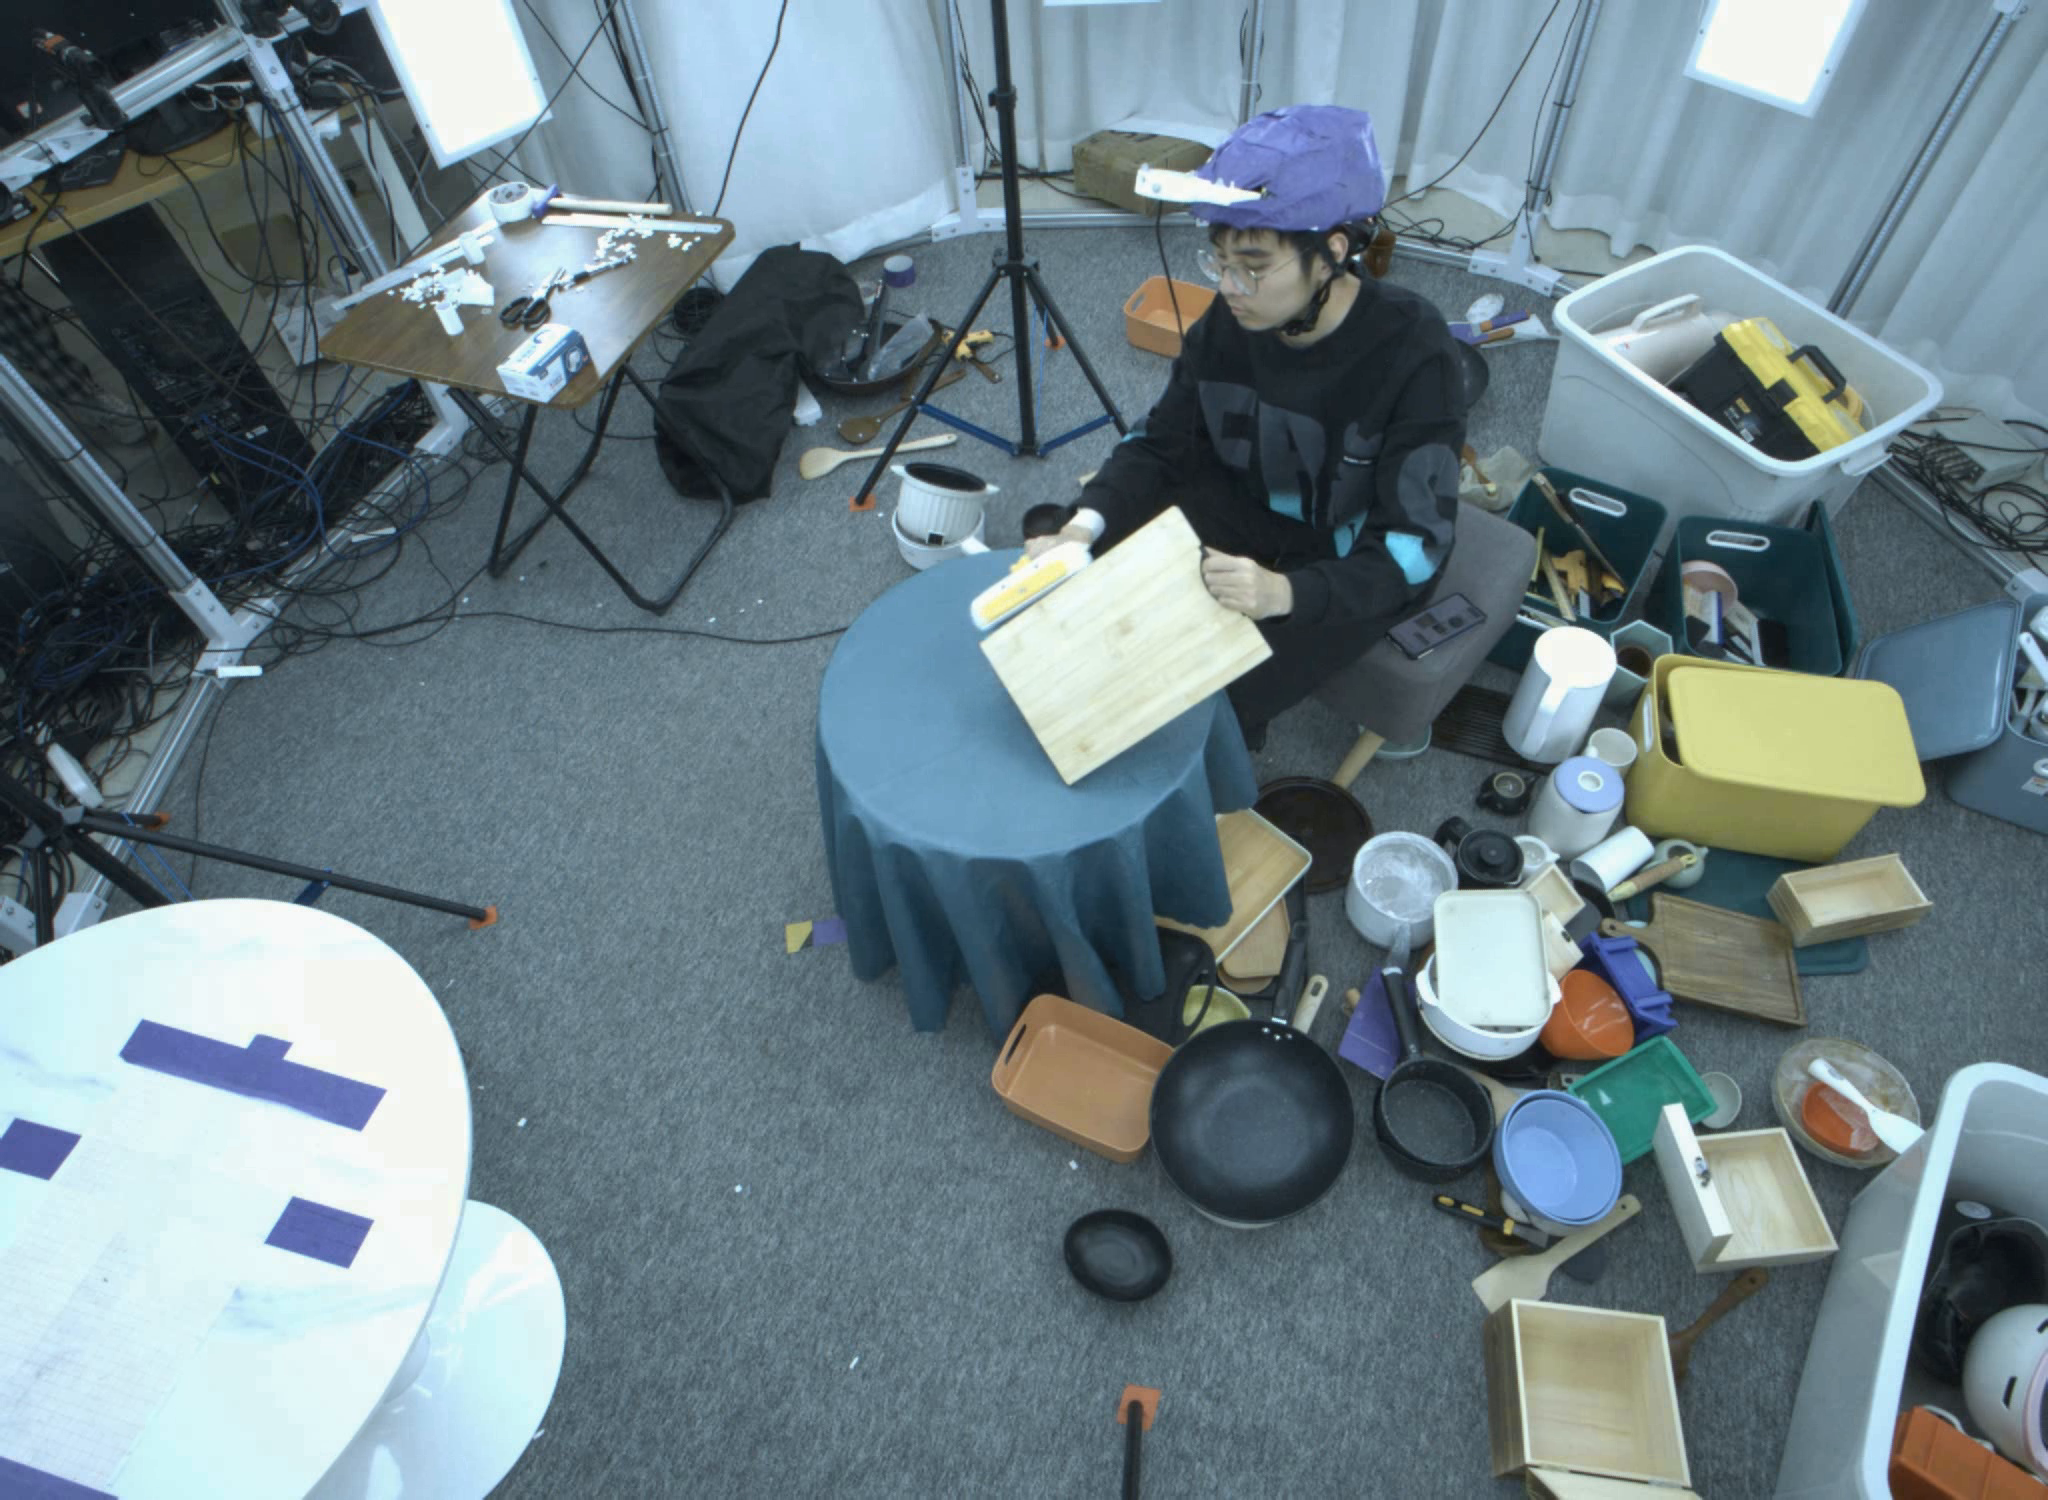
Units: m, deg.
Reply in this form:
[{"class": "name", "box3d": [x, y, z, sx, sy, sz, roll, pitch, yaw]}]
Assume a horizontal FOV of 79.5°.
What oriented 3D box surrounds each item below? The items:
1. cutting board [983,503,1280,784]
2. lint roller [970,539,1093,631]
[{"class": "cutting board", "box3d": [0.139, -0.142, 1.688, 0.346, 0.024, 0.250, -34, 88, 19]}, {"class": "lint roller", "box3d": [0.017, -0.251, 1.790, 0.191, 0.193, 0.074, -34, 93, 18]}]
